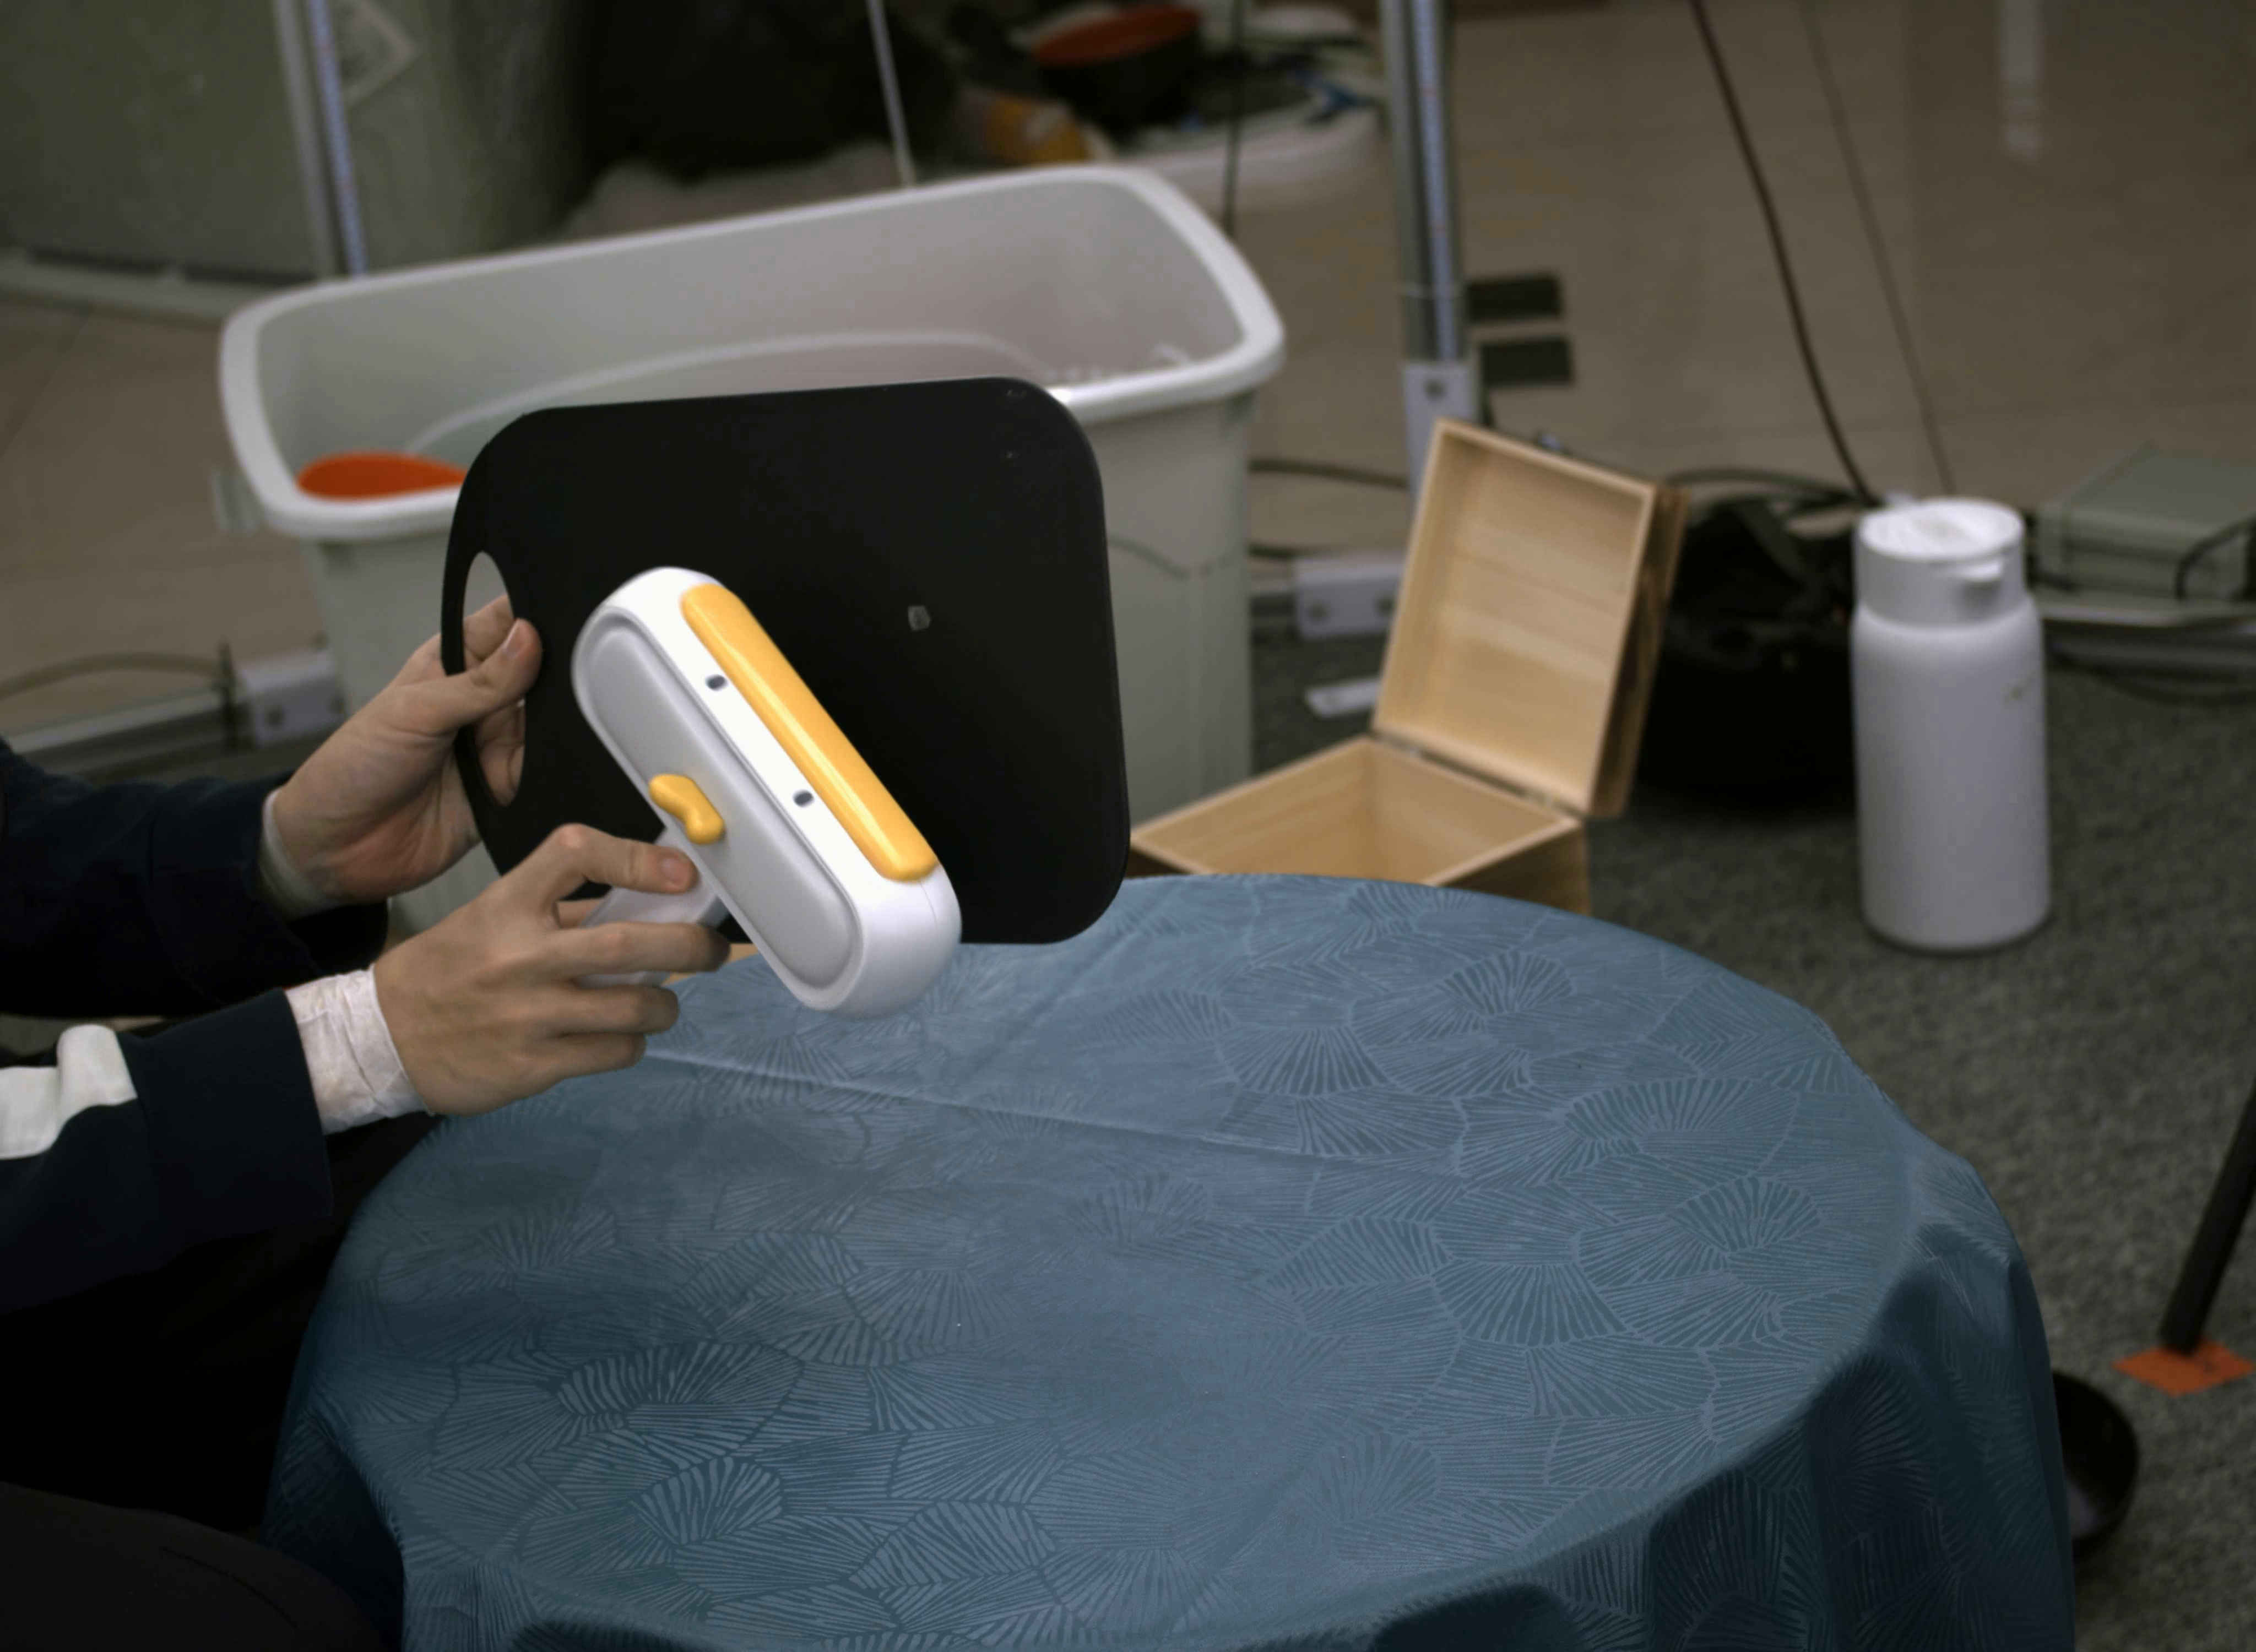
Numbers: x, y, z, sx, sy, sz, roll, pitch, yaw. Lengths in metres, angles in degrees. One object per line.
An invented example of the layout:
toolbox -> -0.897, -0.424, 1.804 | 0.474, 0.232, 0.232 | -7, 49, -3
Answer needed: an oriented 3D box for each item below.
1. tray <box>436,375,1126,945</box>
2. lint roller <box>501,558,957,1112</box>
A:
tray -> -0.138, -0.060, 2.134 | 0.325, 0.212, 0.010 | -1, 9, 35
lint roller -> -0.166, 0.027, 2.079 | 0.191, 0.195, 0.074 | 46, 34, 19
